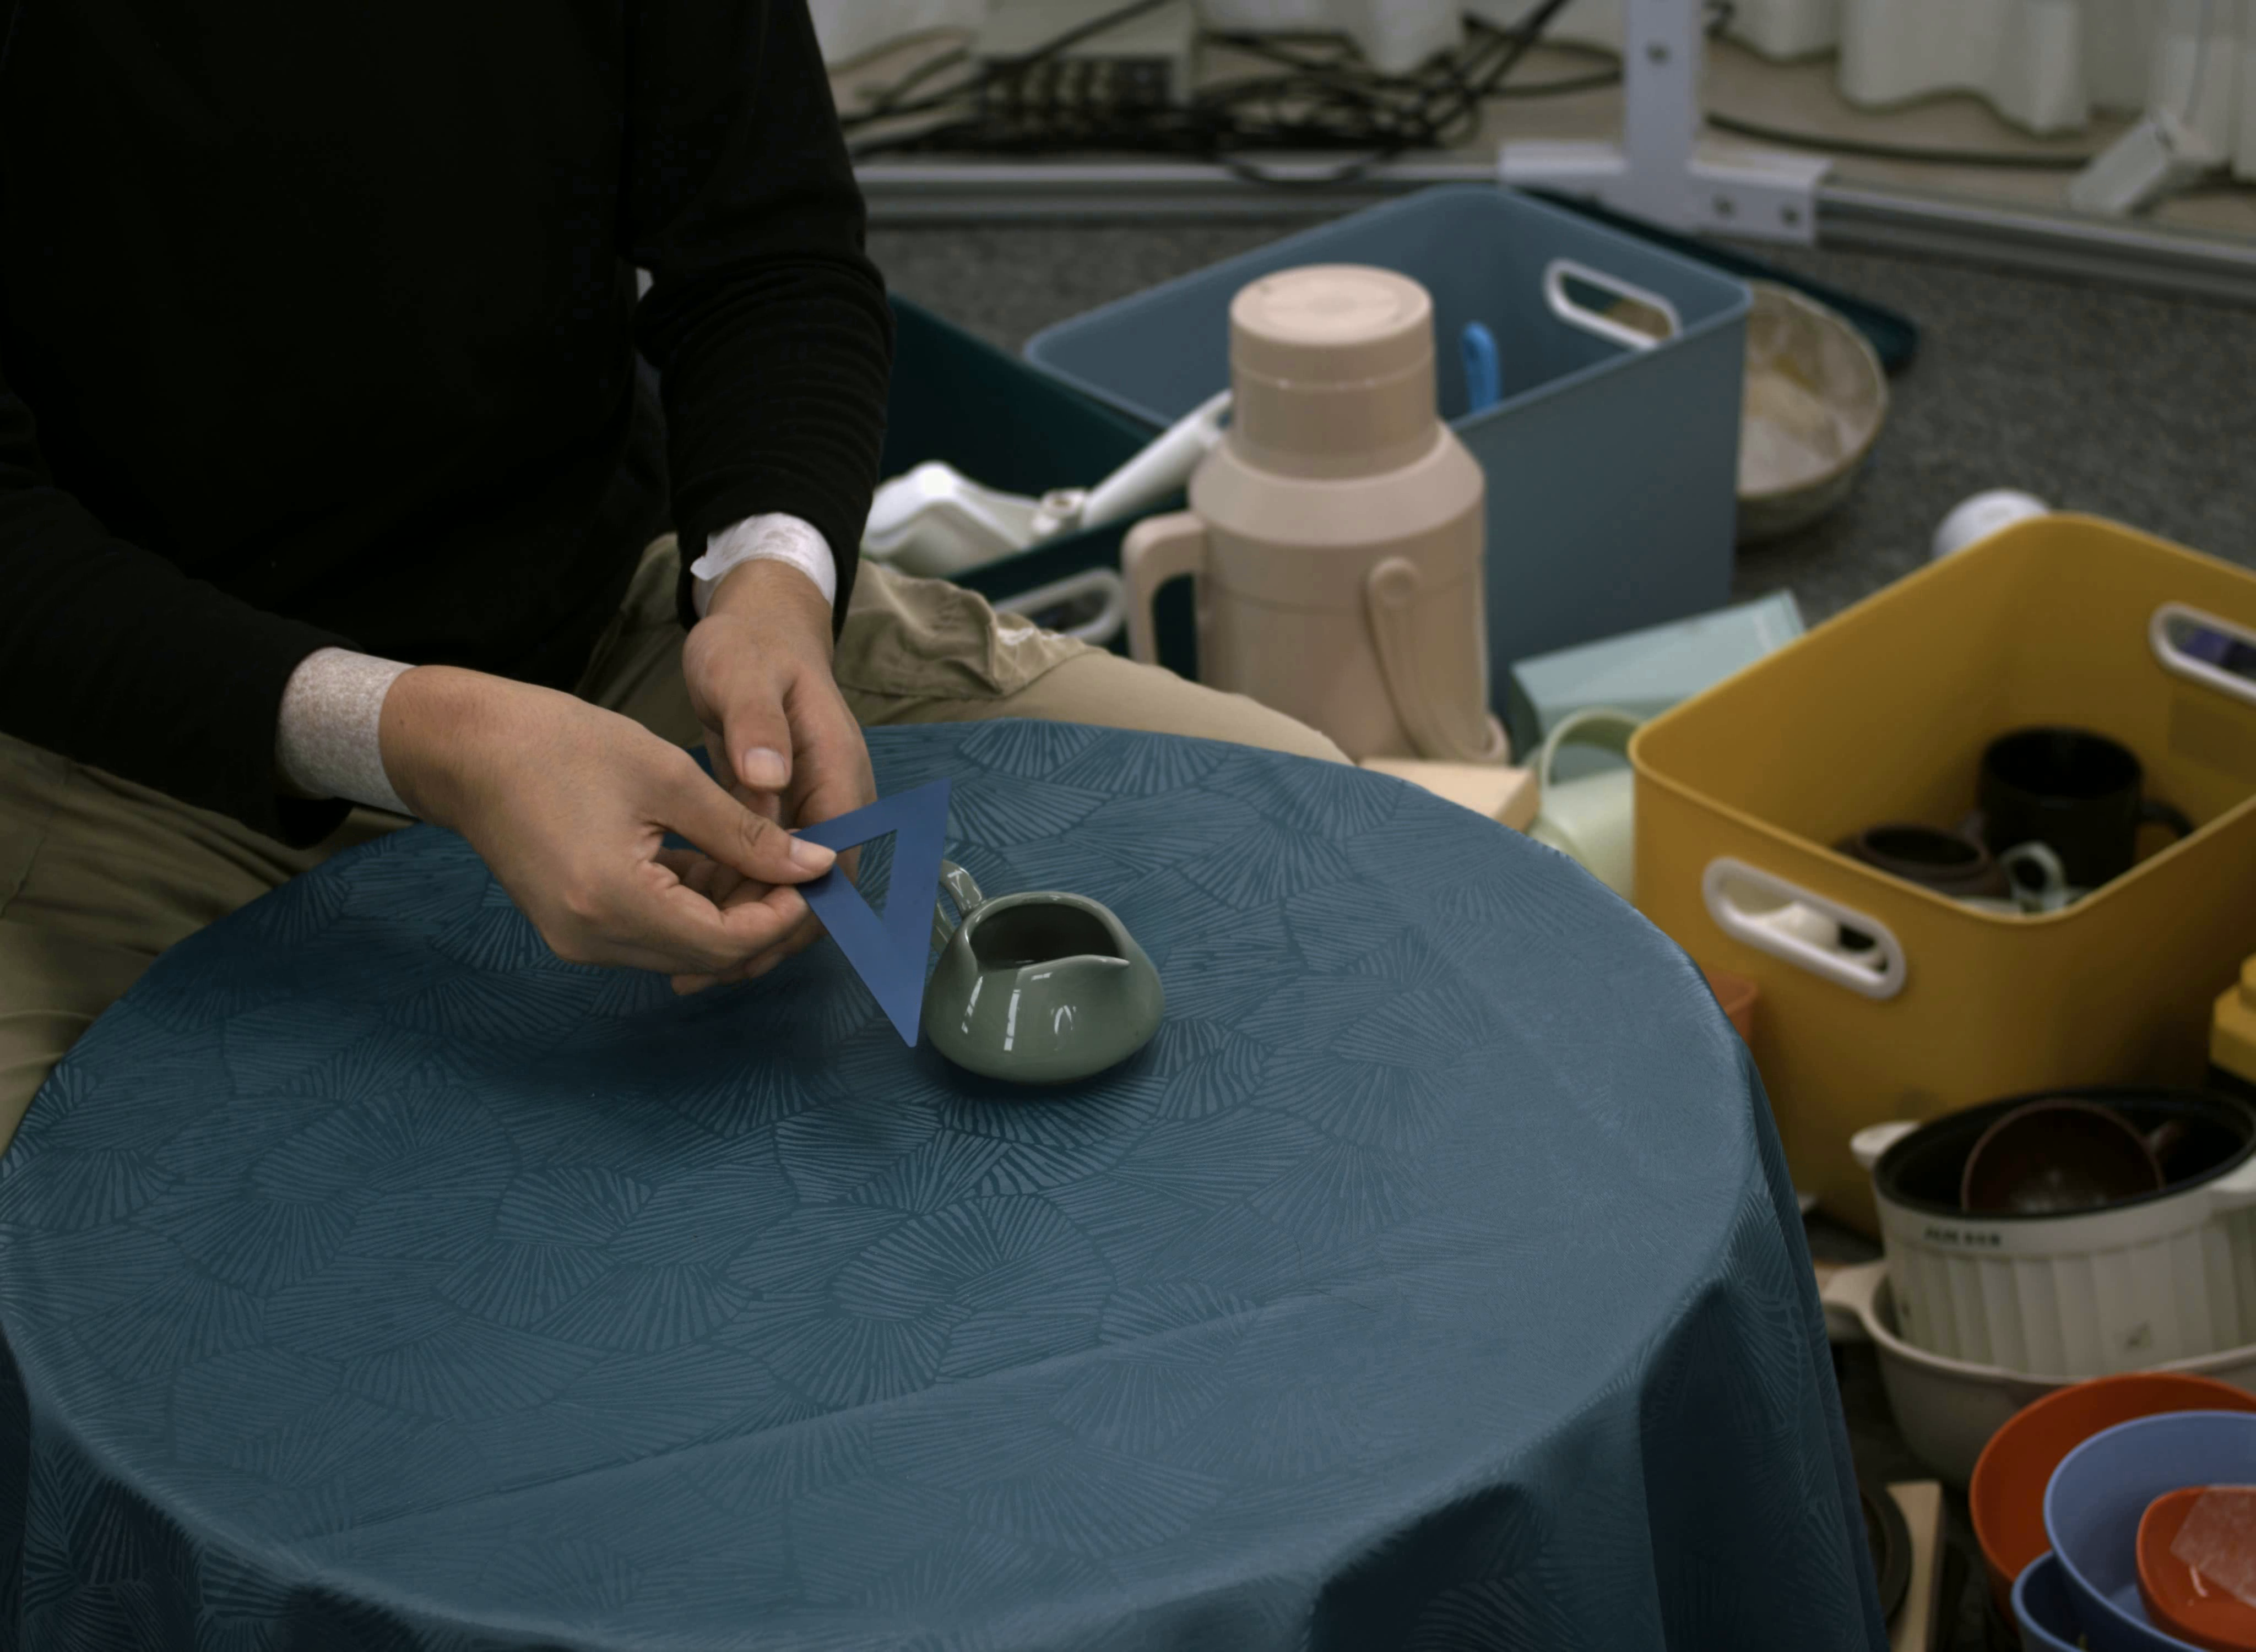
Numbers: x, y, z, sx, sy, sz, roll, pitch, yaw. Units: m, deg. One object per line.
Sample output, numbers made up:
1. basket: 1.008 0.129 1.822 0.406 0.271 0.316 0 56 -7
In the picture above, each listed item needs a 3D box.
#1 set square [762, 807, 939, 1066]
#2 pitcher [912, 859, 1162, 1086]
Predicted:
1. set square: -0.101 0.035 1.907 0.061 0.006 0.135 3 41 7
2. pitcher: -0.035 0.051 1.941 0.085 0.055 0.112 -24 33 -39
